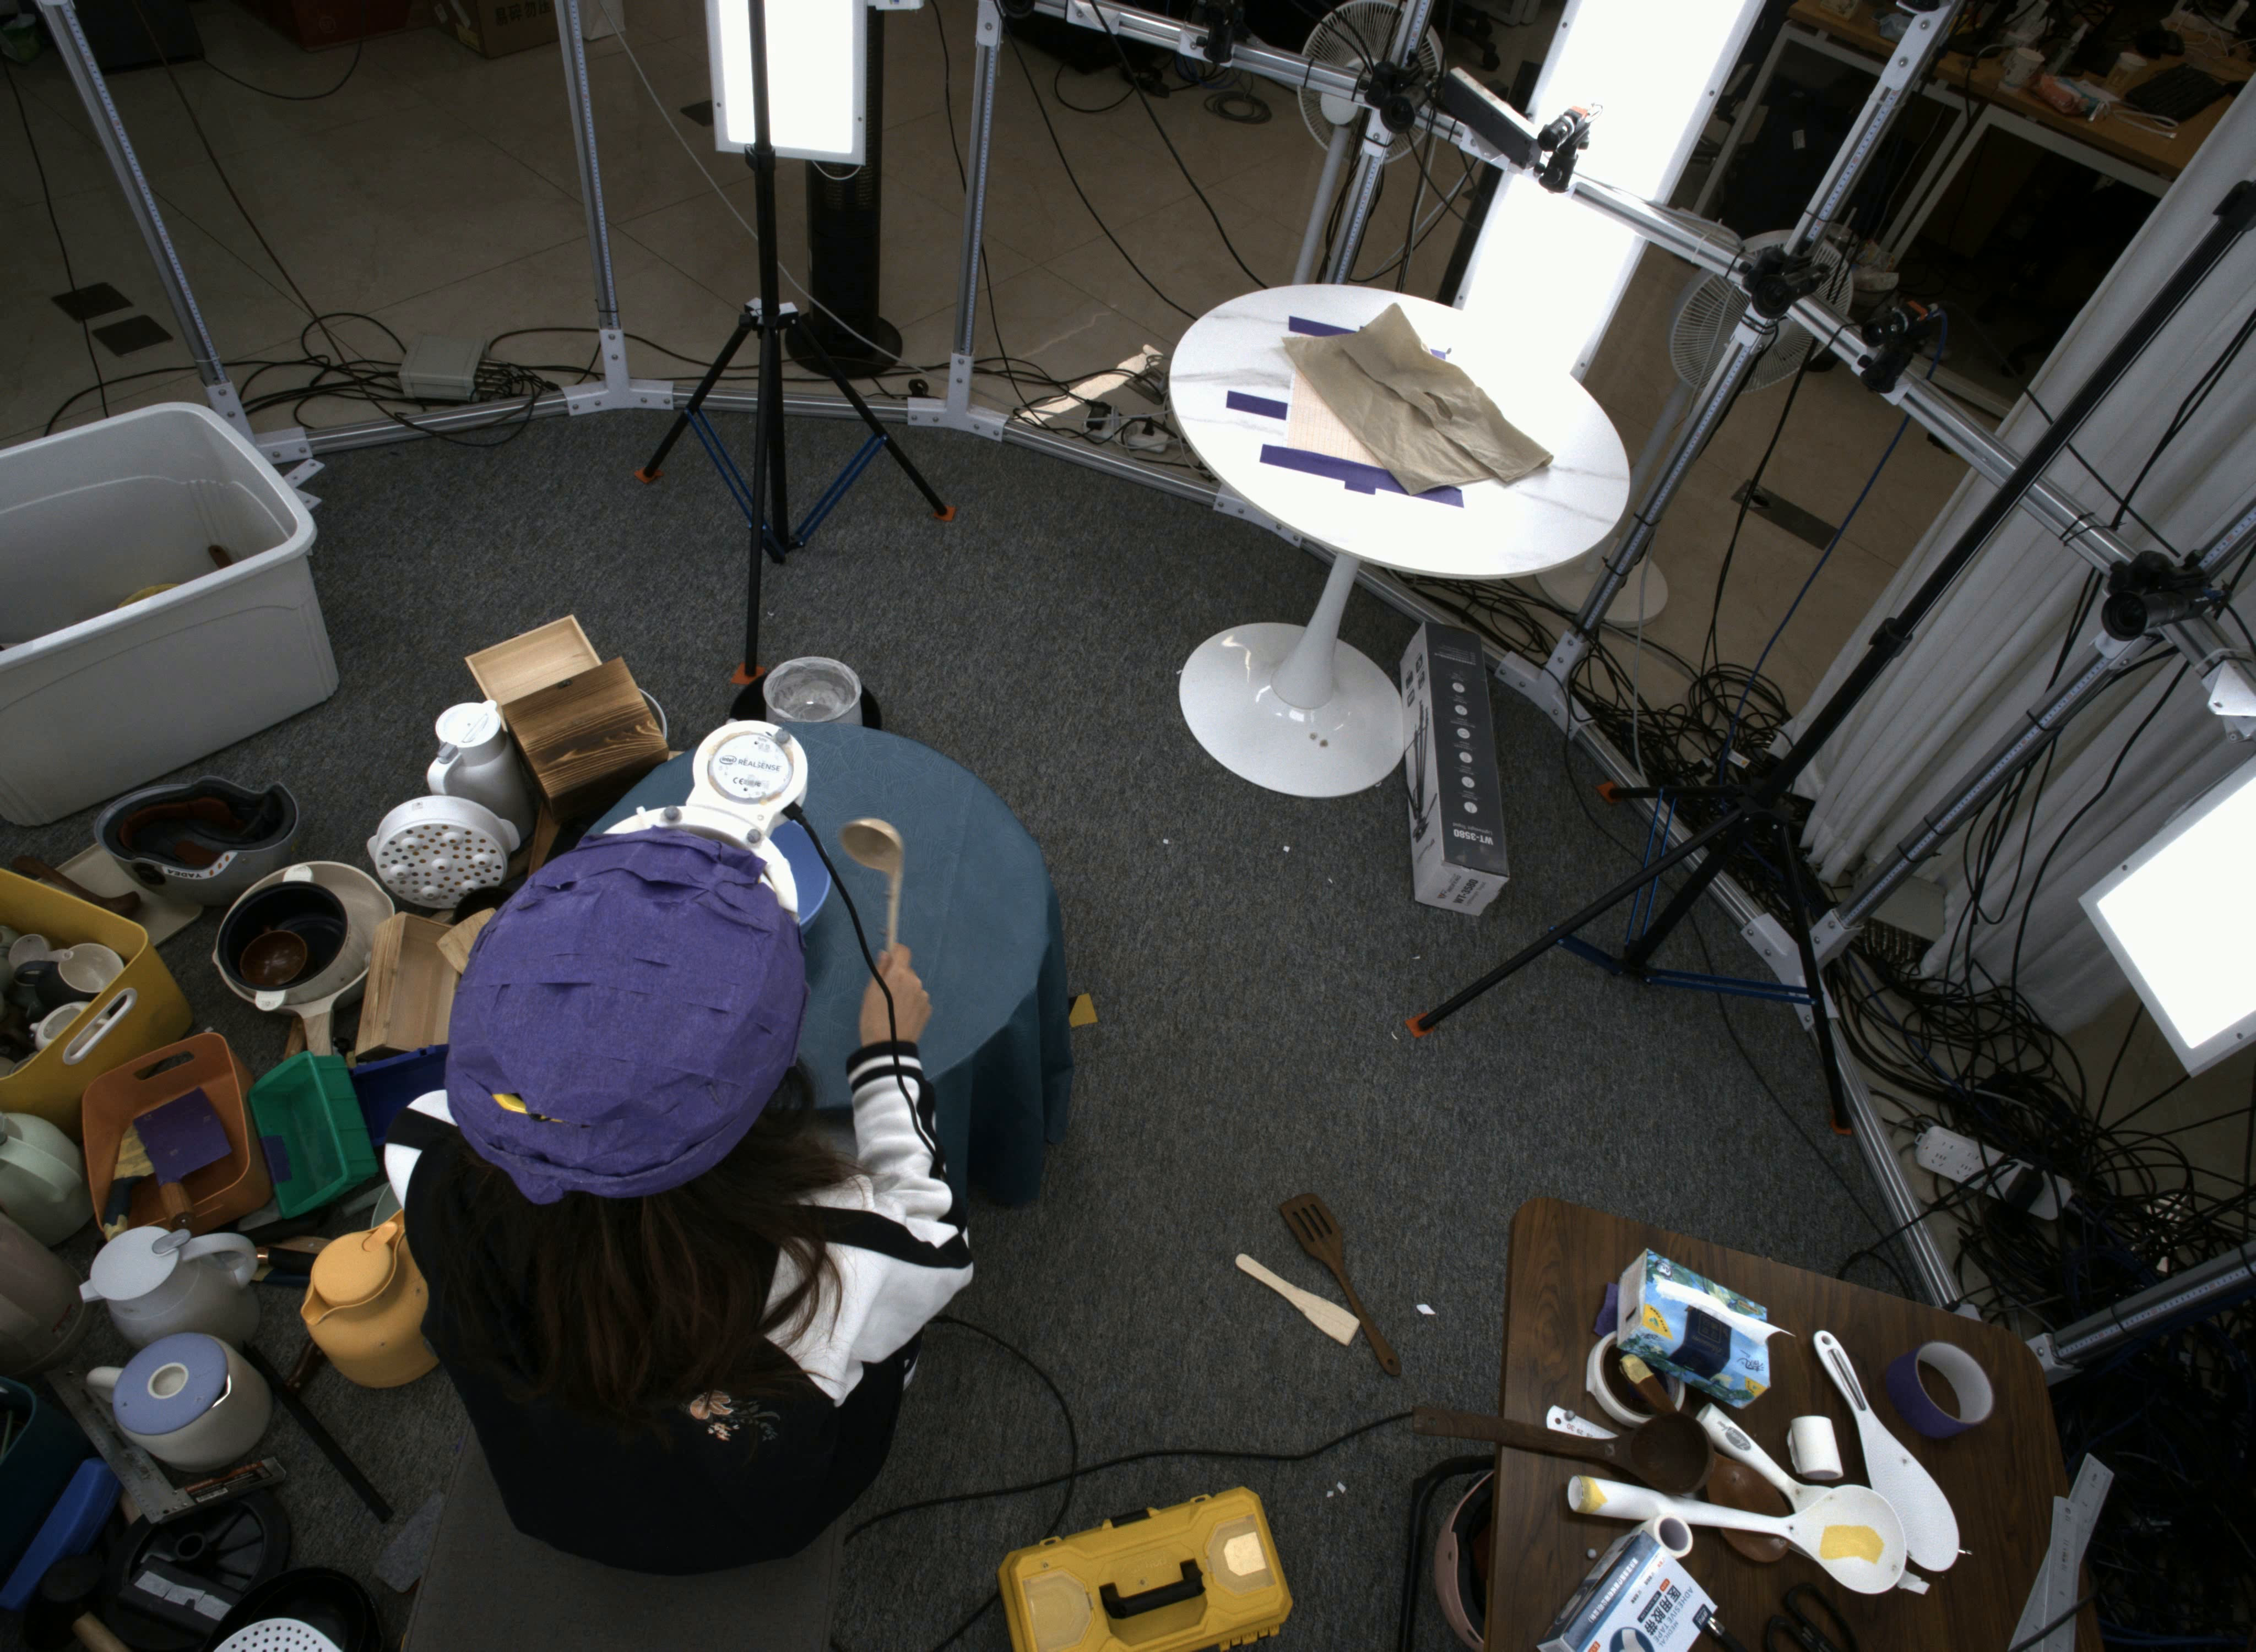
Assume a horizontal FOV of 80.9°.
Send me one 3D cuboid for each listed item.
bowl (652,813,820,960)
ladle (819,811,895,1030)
[{"bbox_3d":[-0.475,0.087,1.578,0.196,0.097,0.193,8,50,-8],"label":"bowl"},{"bbox_3d":[-0.301,0.100,1.442,0.075,0.071,0.250,19,50,-43],"label":"ladle"}]
